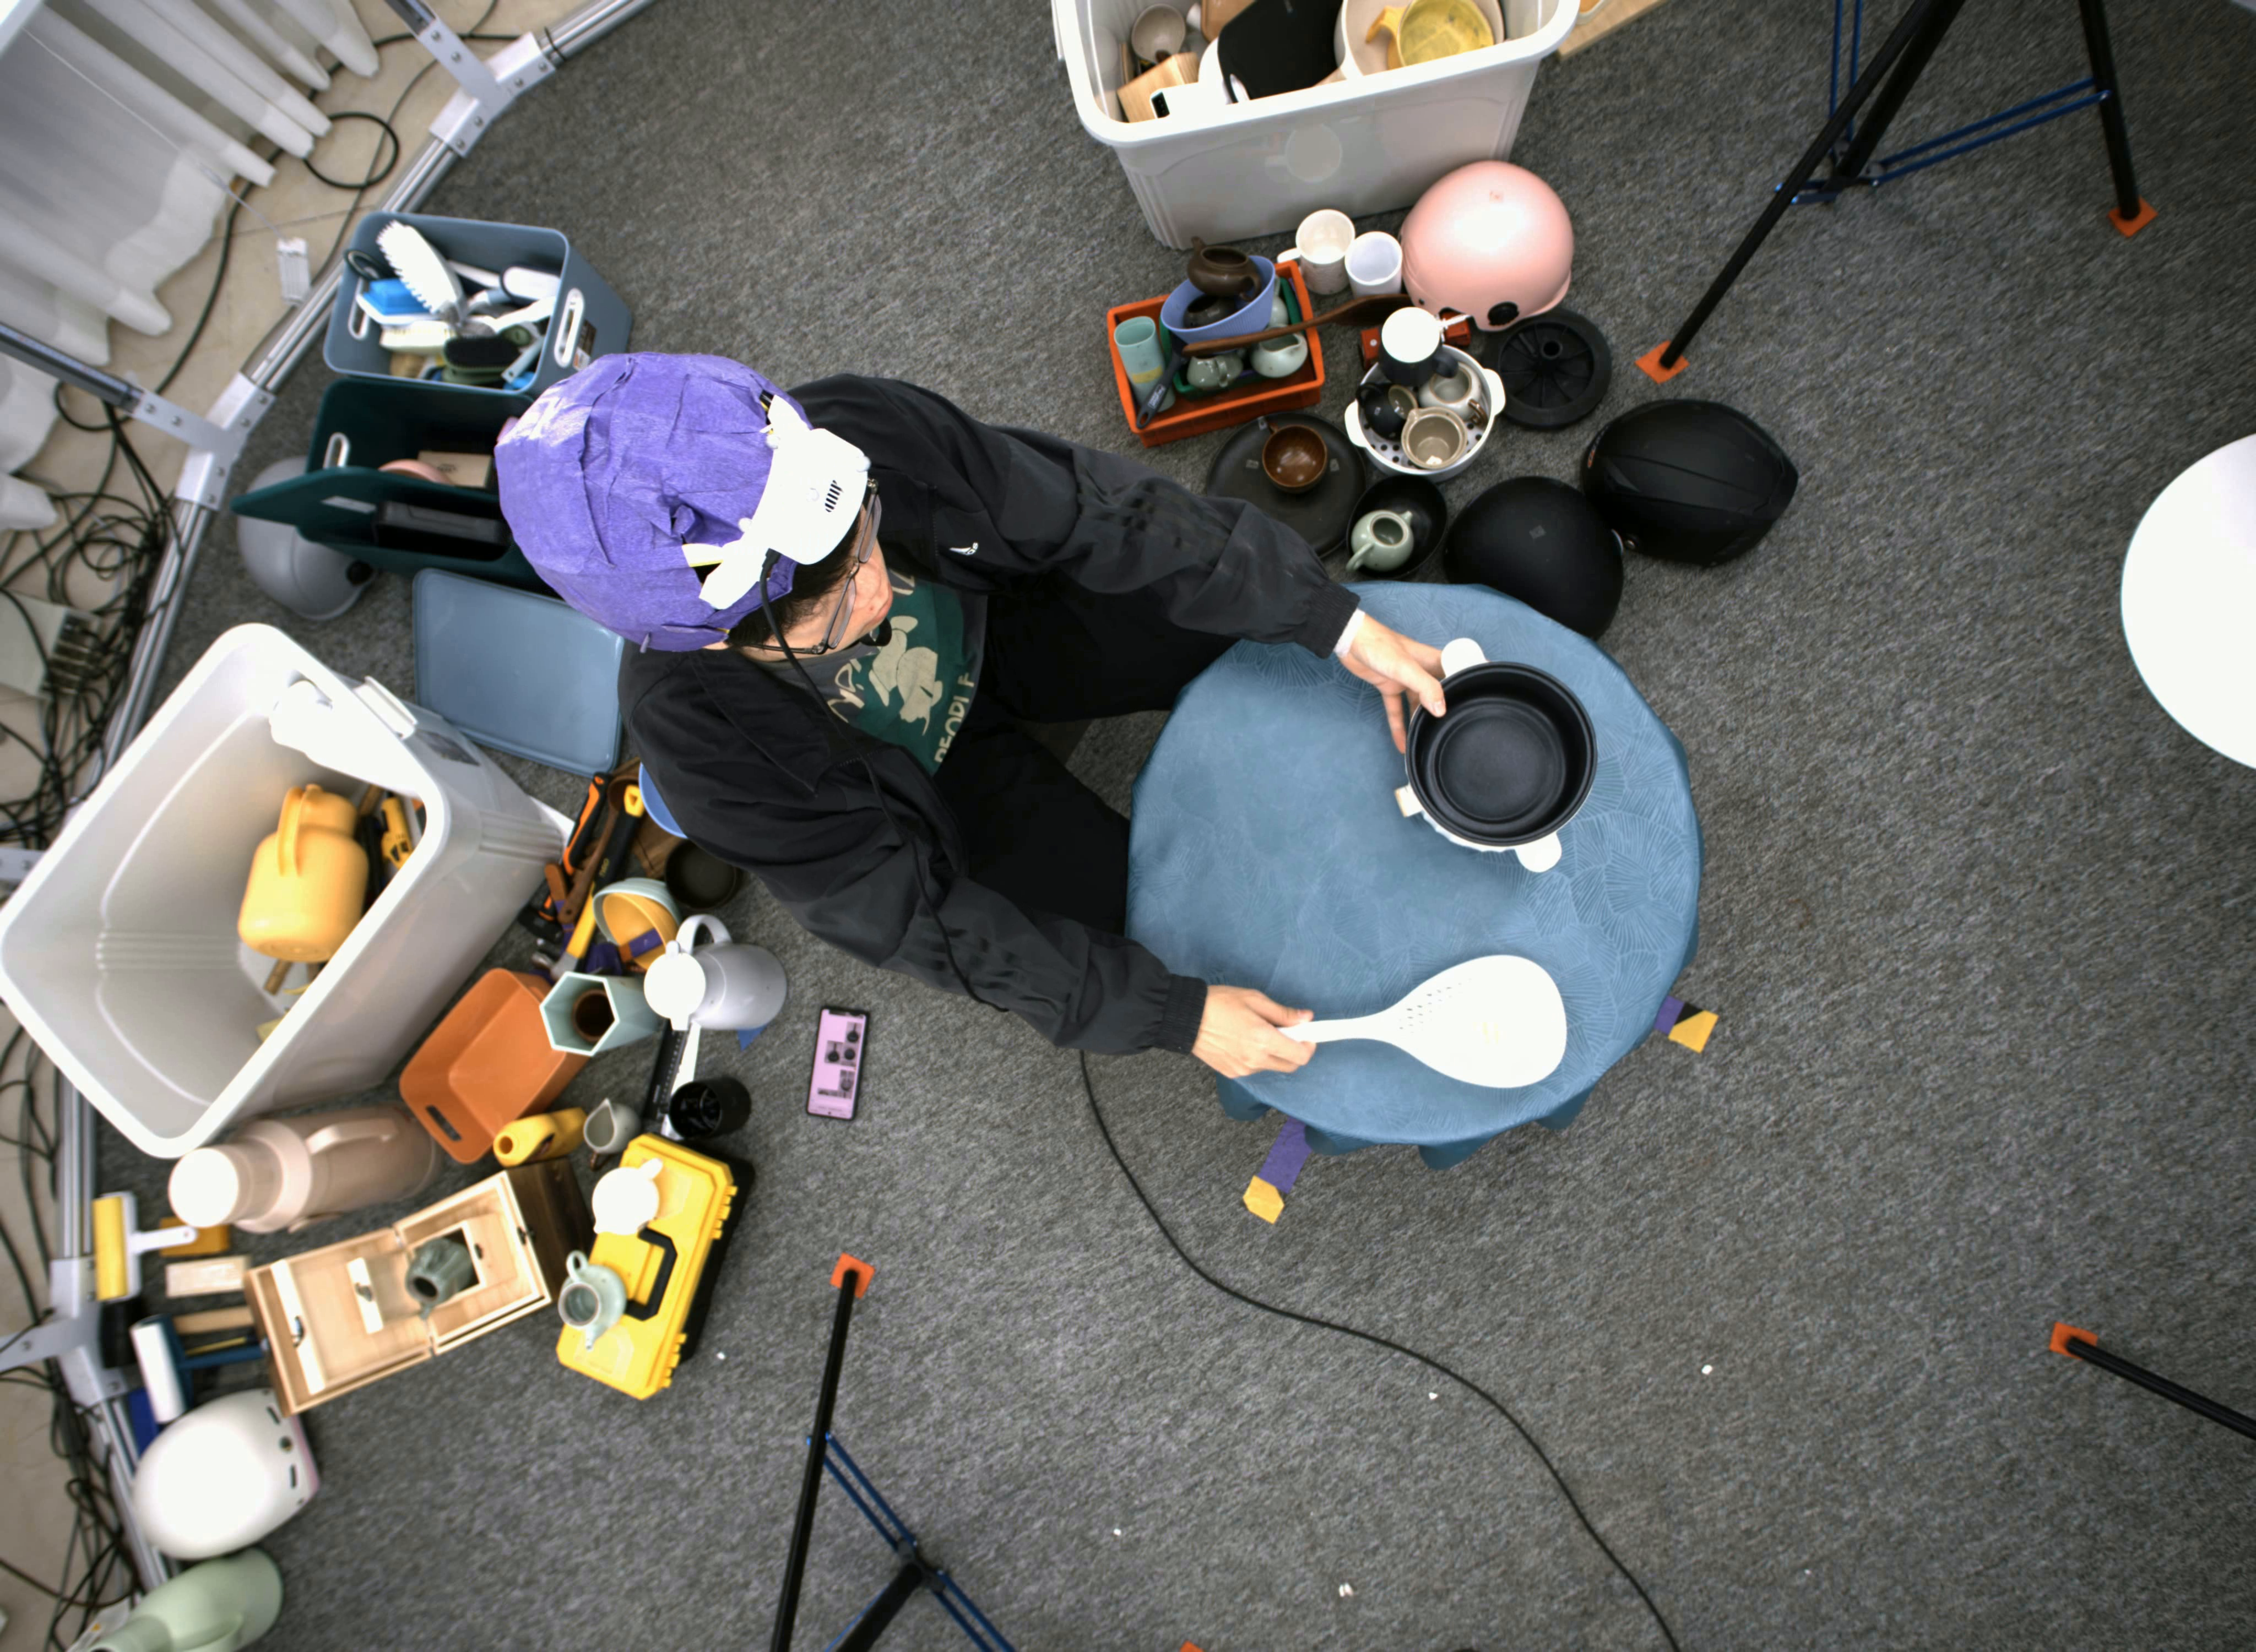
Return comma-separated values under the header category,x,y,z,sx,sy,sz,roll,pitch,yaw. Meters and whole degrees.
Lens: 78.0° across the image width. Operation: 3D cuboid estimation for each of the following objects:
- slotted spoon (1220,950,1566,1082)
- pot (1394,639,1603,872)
category,x,y,z,sx,sy,sz,roll,pitch,yaw
slotted spoon,0.266,0.205,1.410,0.349,0.051,0.134,-5,68,5
pot,0.364,-0.061,1.377,0.191,0.143,0.239,-21,82,5
